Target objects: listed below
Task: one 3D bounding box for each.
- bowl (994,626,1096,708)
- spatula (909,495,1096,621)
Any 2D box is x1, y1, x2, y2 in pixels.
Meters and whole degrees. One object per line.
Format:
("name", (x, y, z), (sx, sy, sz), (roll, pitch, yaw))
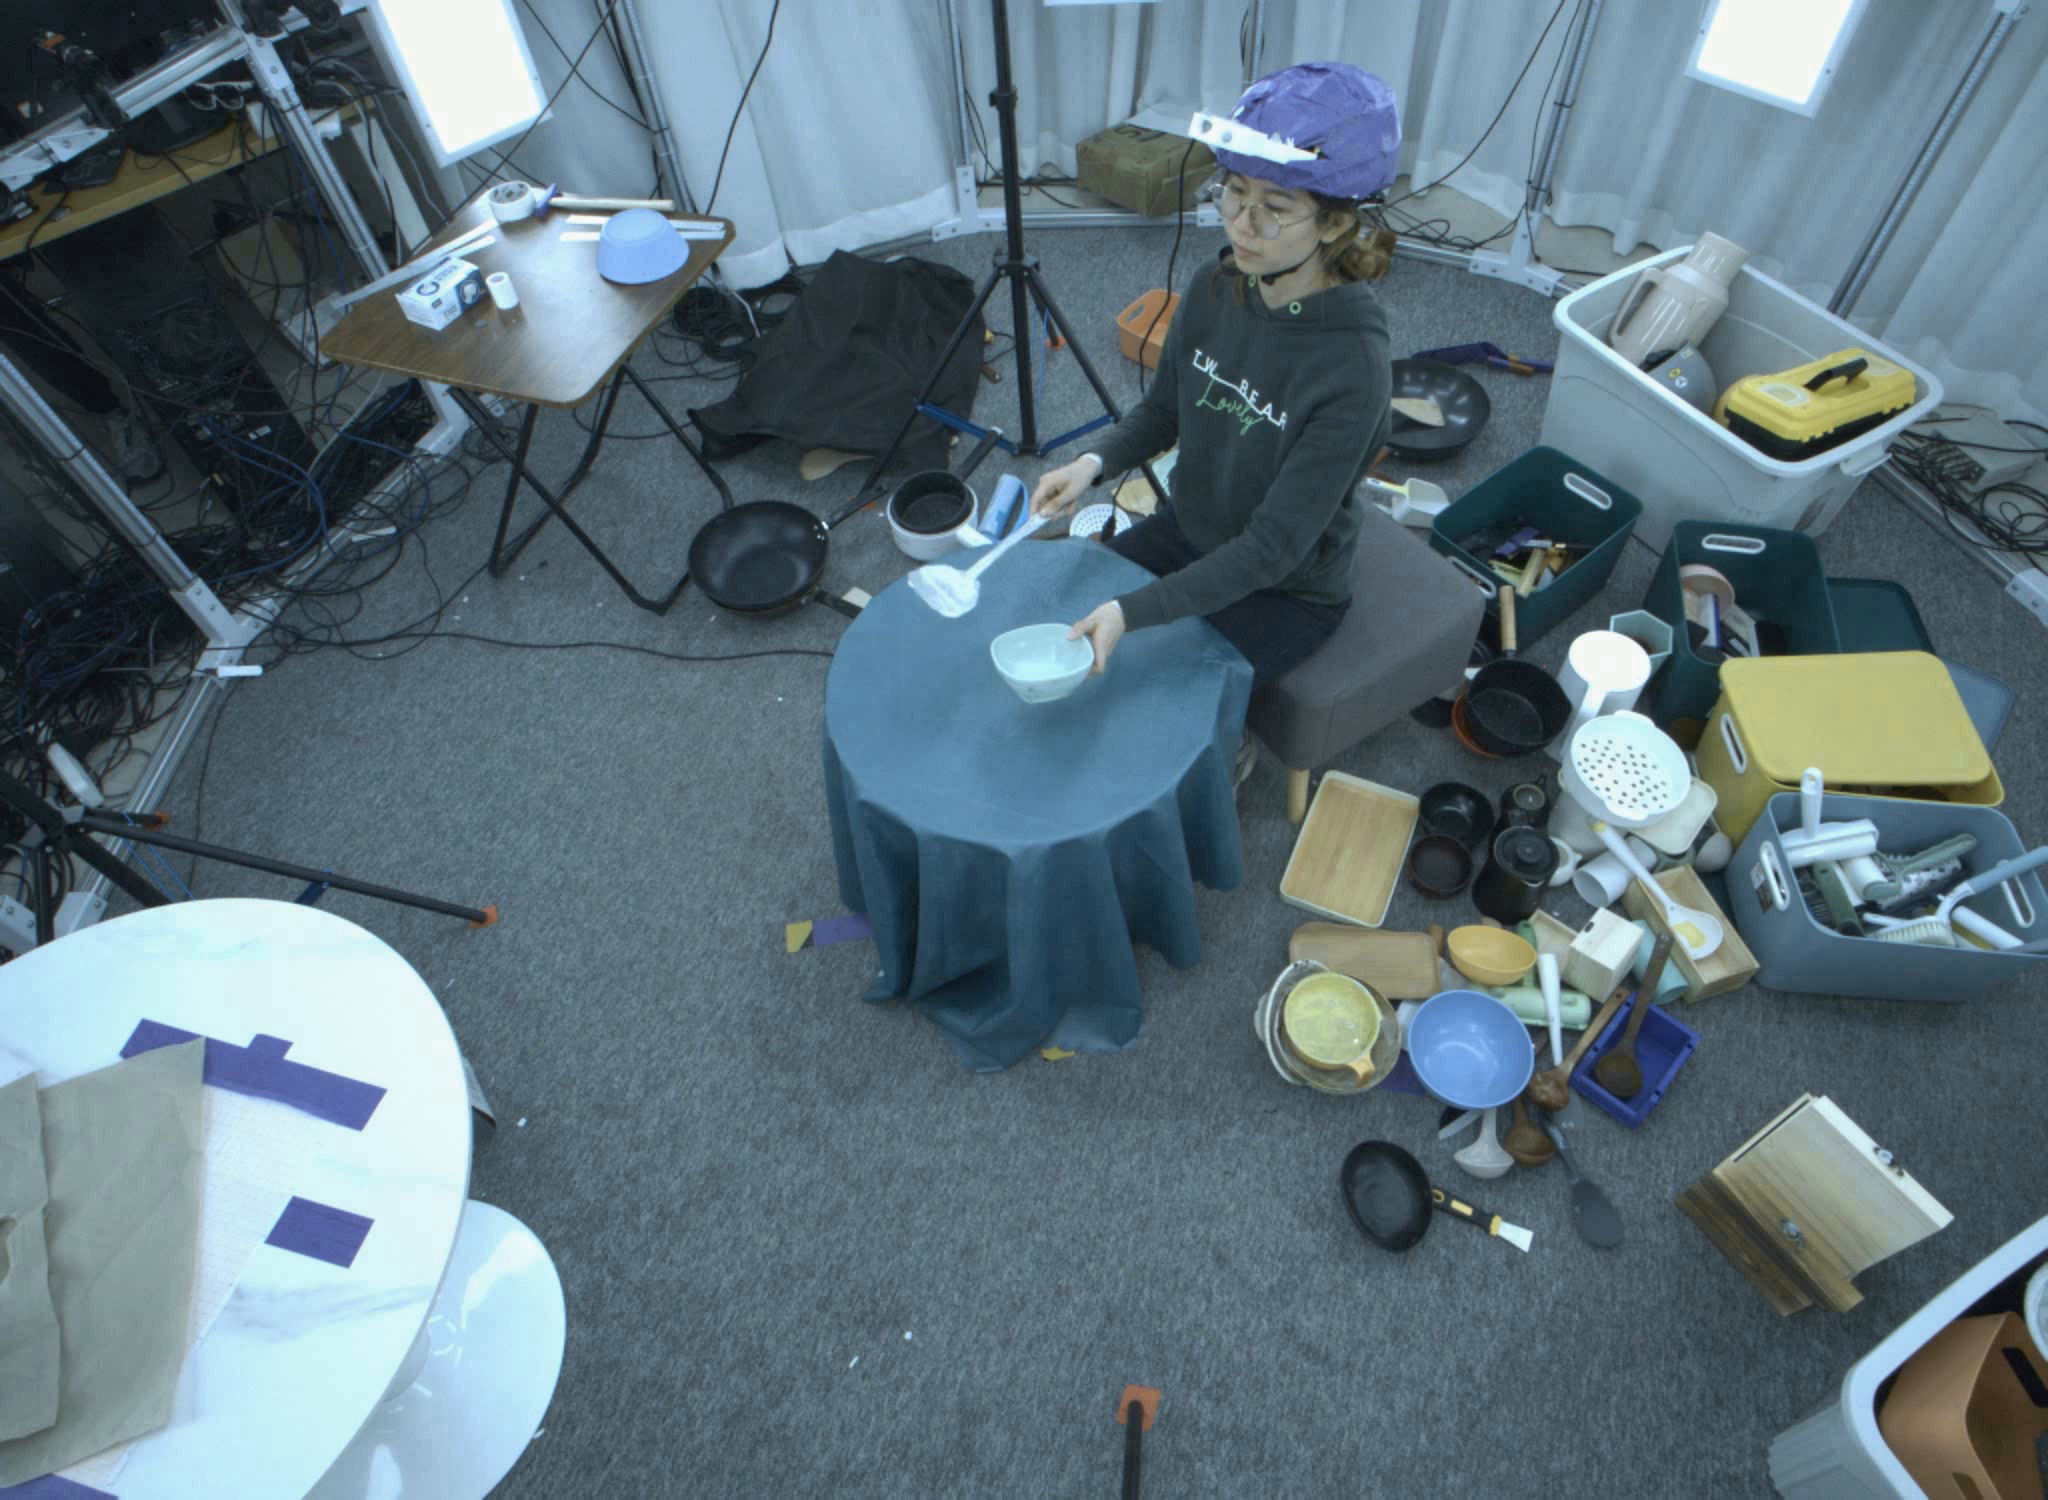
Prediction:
("bowl", (0.030, -0.111, 1.748), (0.151, 0.059, 0.150), (0, 41, 1))
("spatula", (-0.019, -0.305, 1.831), (0.098, 0.045, 0.367), (44, 64, 11))
